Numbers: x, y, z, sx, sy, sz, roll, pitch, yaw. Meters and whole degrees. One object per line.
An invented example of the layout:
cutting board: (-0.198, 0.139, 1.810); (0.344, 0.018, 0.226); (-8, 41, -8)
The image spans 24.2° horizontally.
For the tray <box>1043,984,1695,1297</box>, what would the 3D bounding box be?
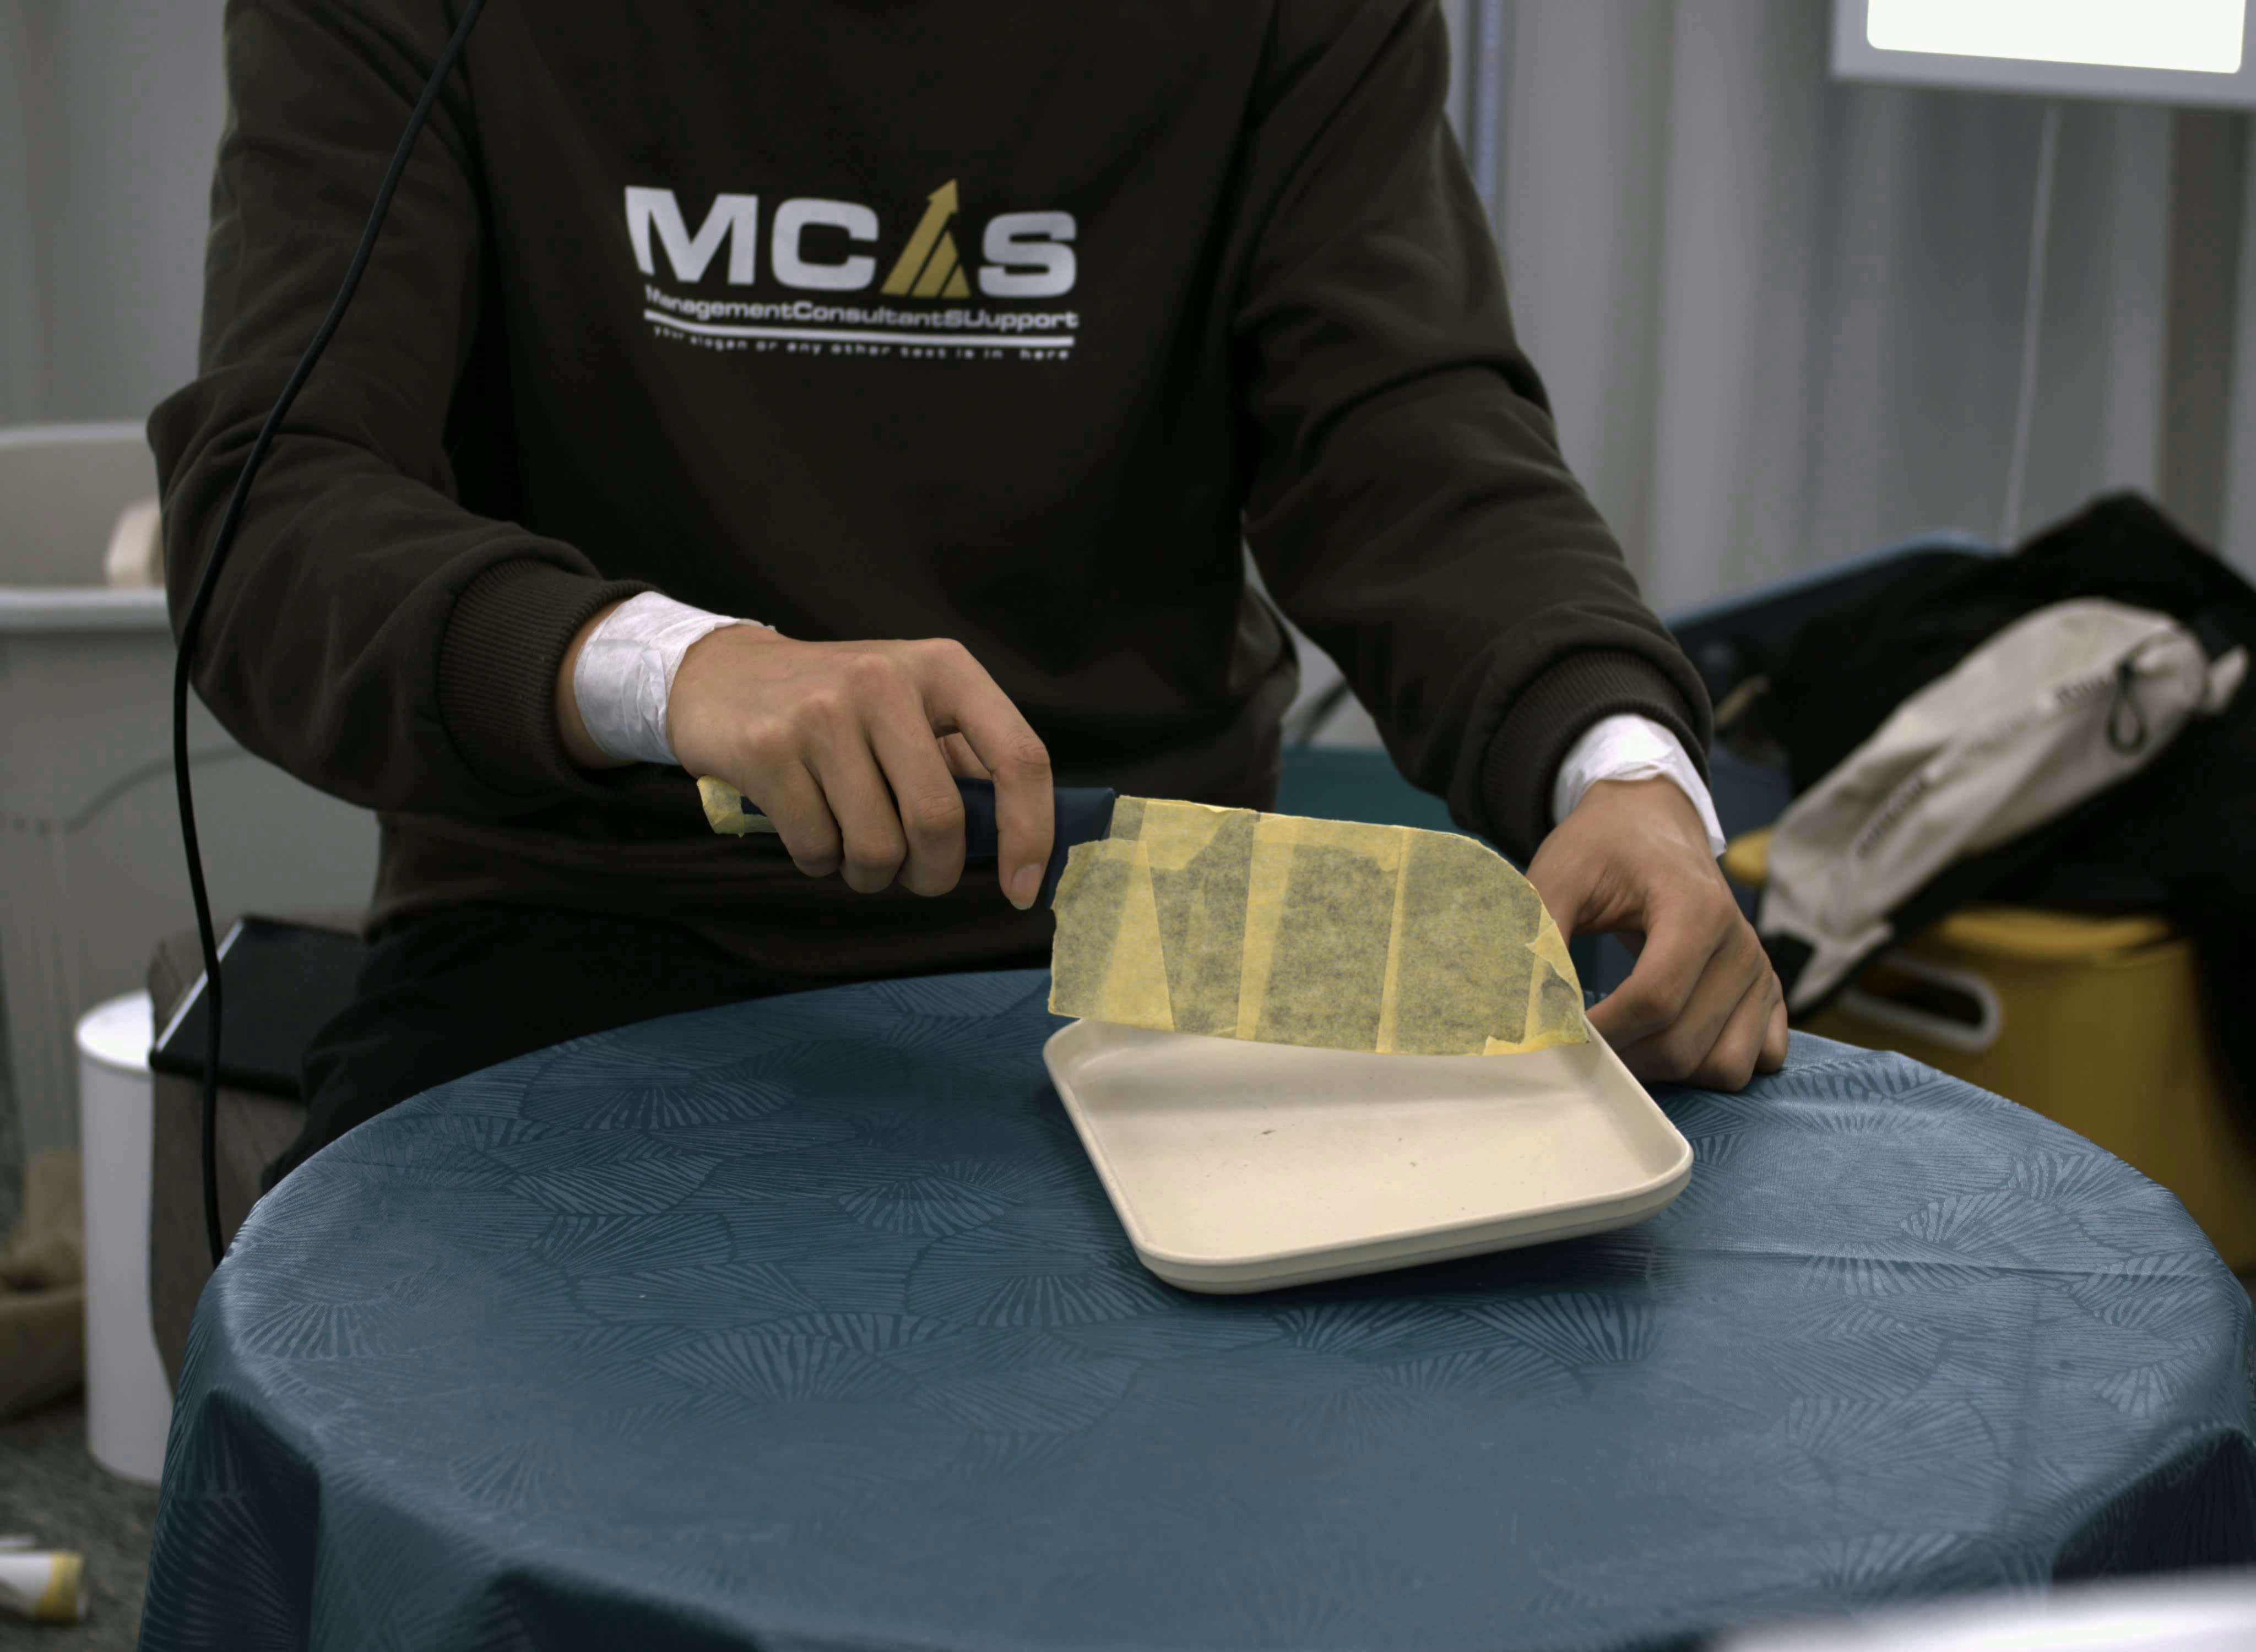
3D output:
tray: (0.071, 0.091, 1.638); (0.171, 0.017, 0.237); (-10, 17, -7)

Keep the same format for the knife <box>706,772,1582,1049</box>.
knife: (0.003, 0.026, 1.669); (0.287, 0.081, 0.027); (9, -5, 10)
